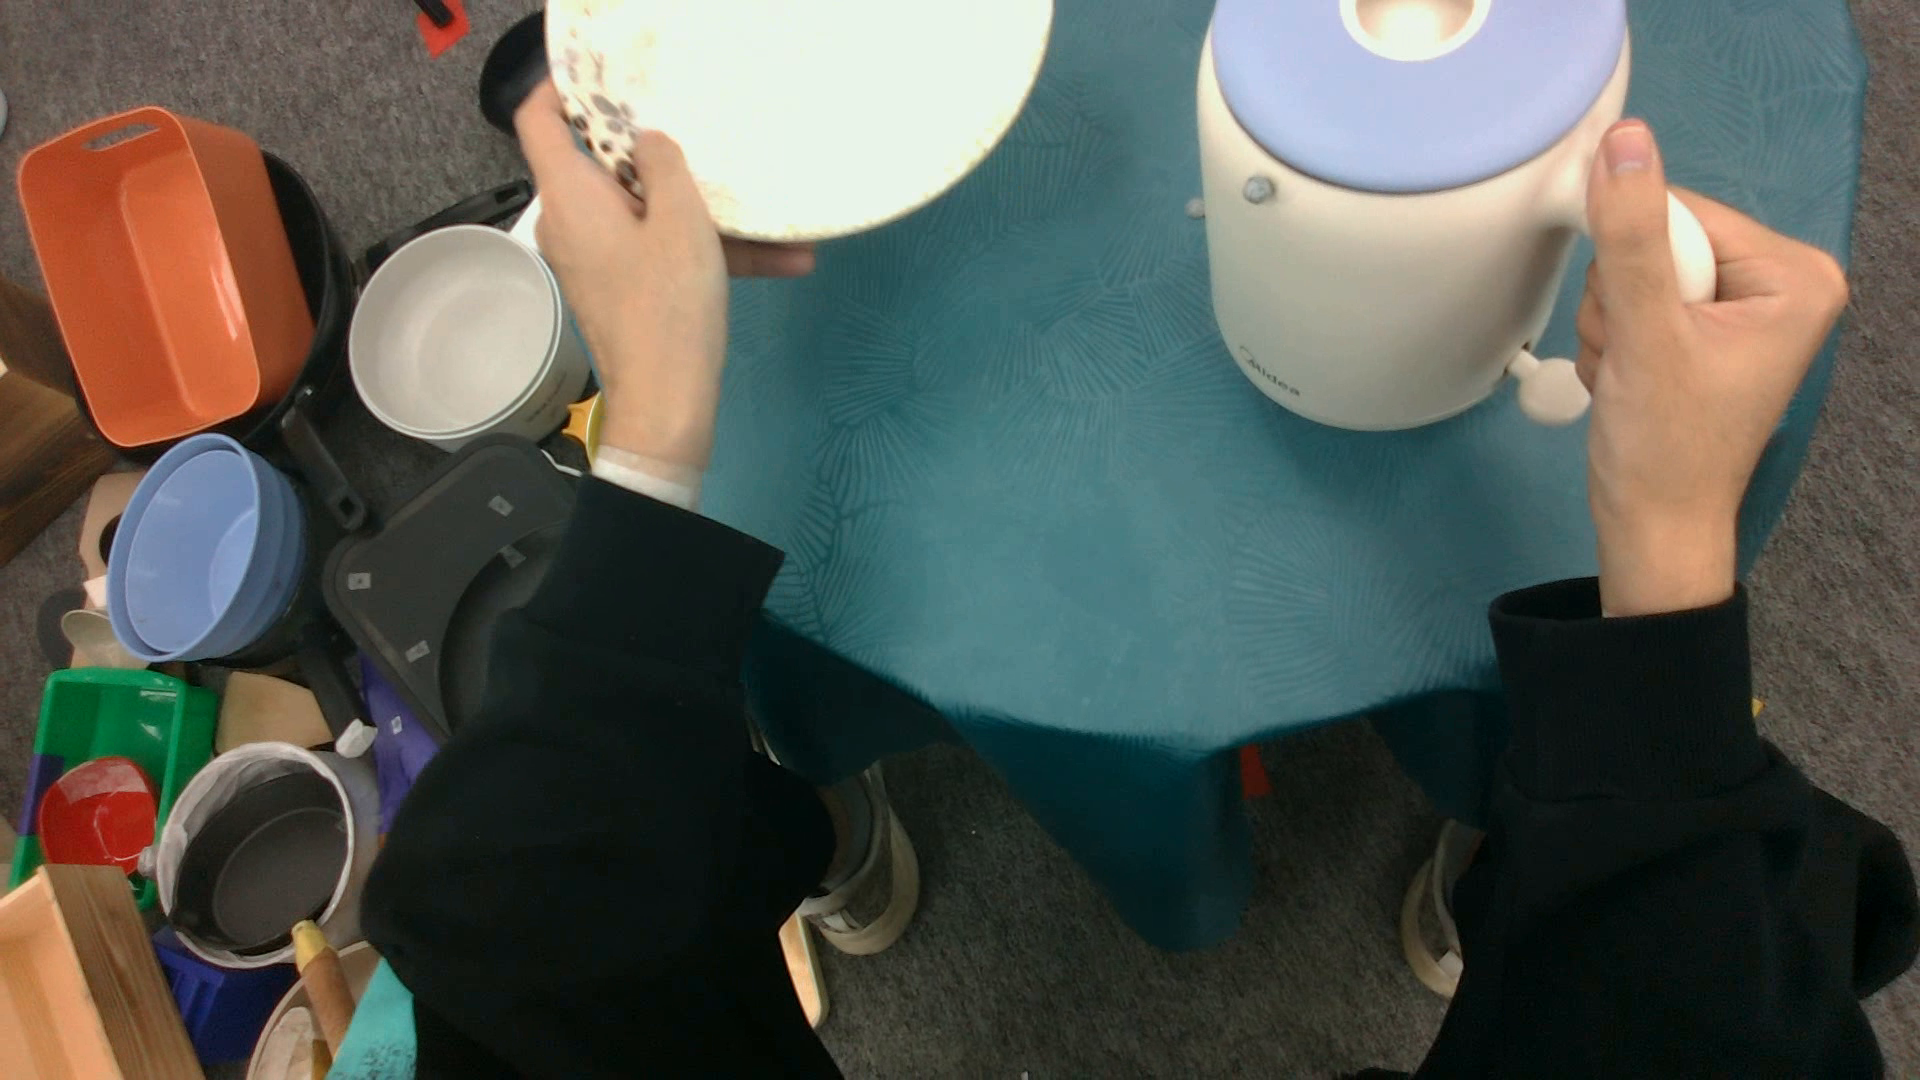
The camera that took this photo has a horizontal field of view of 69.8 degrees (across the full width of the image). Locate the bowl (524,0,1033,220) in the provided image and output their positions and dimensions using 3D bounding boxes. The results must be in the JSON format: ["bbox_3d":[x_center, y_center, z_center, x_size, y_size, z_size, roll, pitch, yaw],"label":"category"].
[{"bbox_3d":[-0.069,-0.220,0.573,0.204,0.078,0.204,0,84,4],"label":"bowl"}]

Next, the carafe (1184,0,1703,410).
[{"bbox_3d":[0.165,-0.121,0.484,0.191,0.182,0.132,41,85,19],"label":"carafe"}]
